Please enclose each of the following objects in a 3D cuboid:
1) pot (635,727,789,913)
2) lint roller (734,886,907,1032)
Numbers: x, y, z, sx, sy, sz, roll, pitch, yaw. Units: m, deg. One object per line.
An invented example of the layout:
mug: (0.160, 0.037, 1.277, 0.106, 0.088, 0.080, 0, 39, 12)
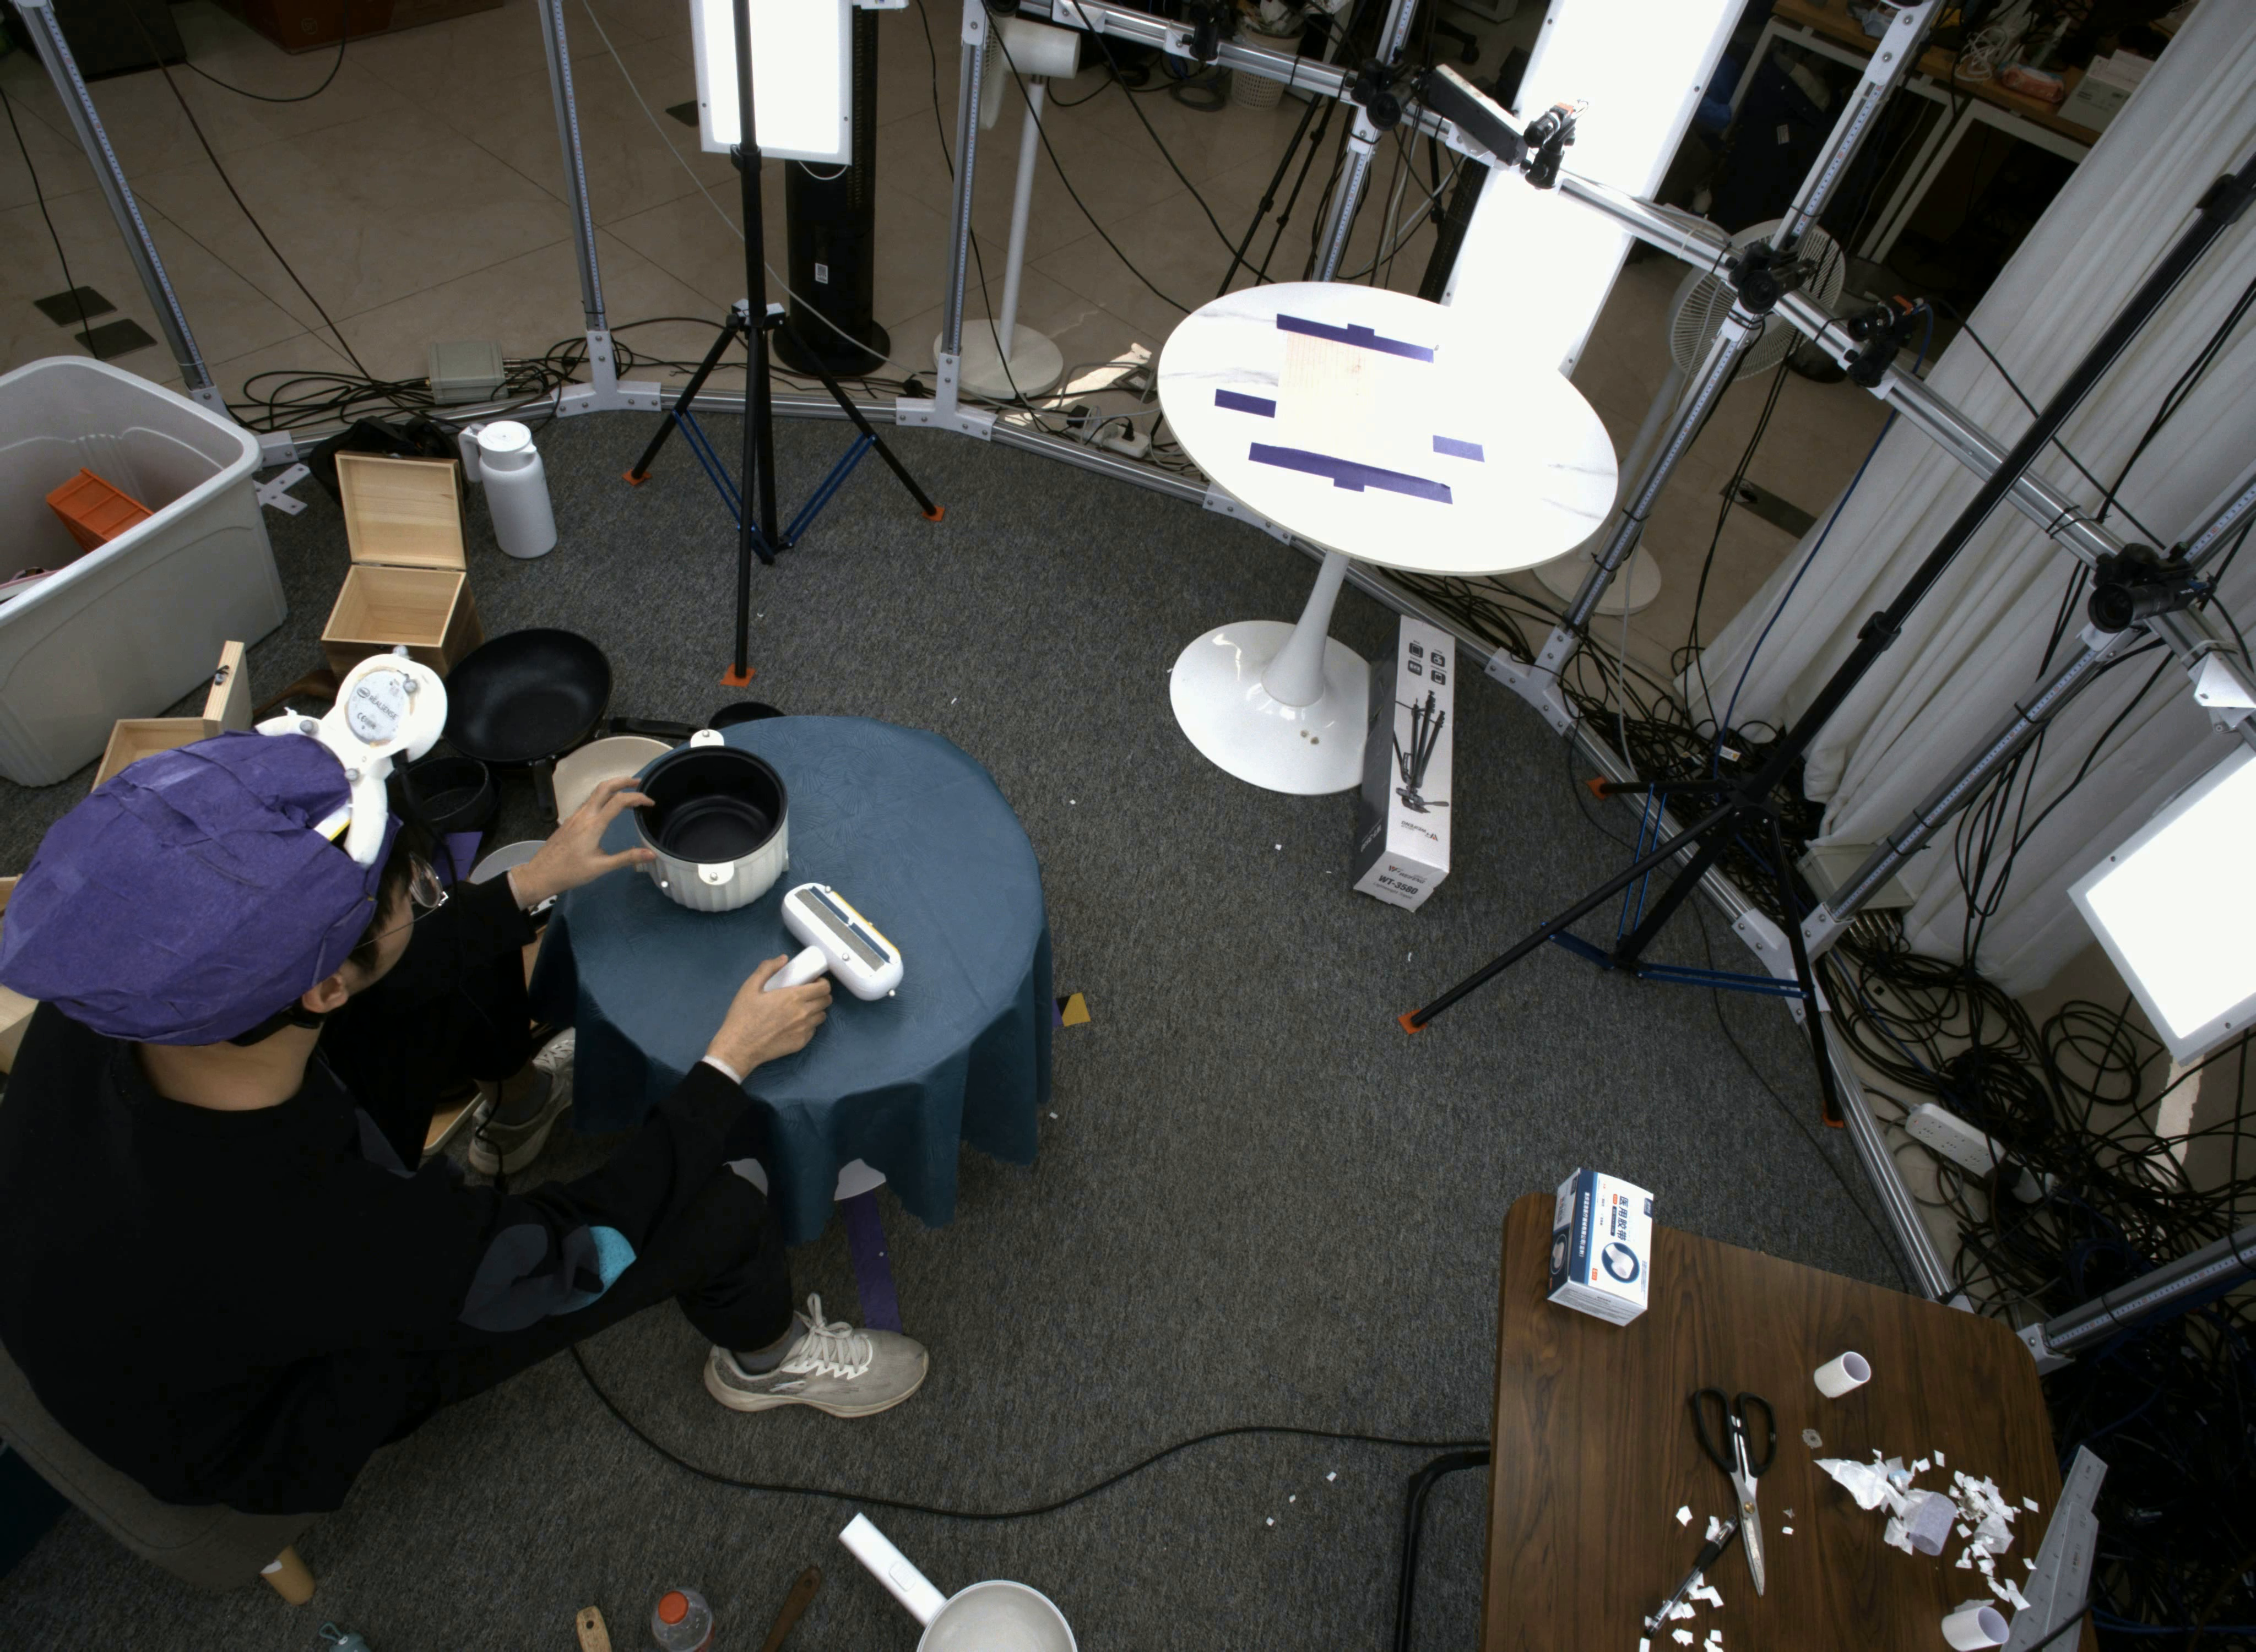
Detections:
pot: (-0.520, 0.010, 1.606, 0.191, 0.145, 0.234, -4, 54, -20)
lint roller: (-0.390, 0.174, 1.566, 0.193, 0.076, 0.187, -31, 62, -30)
